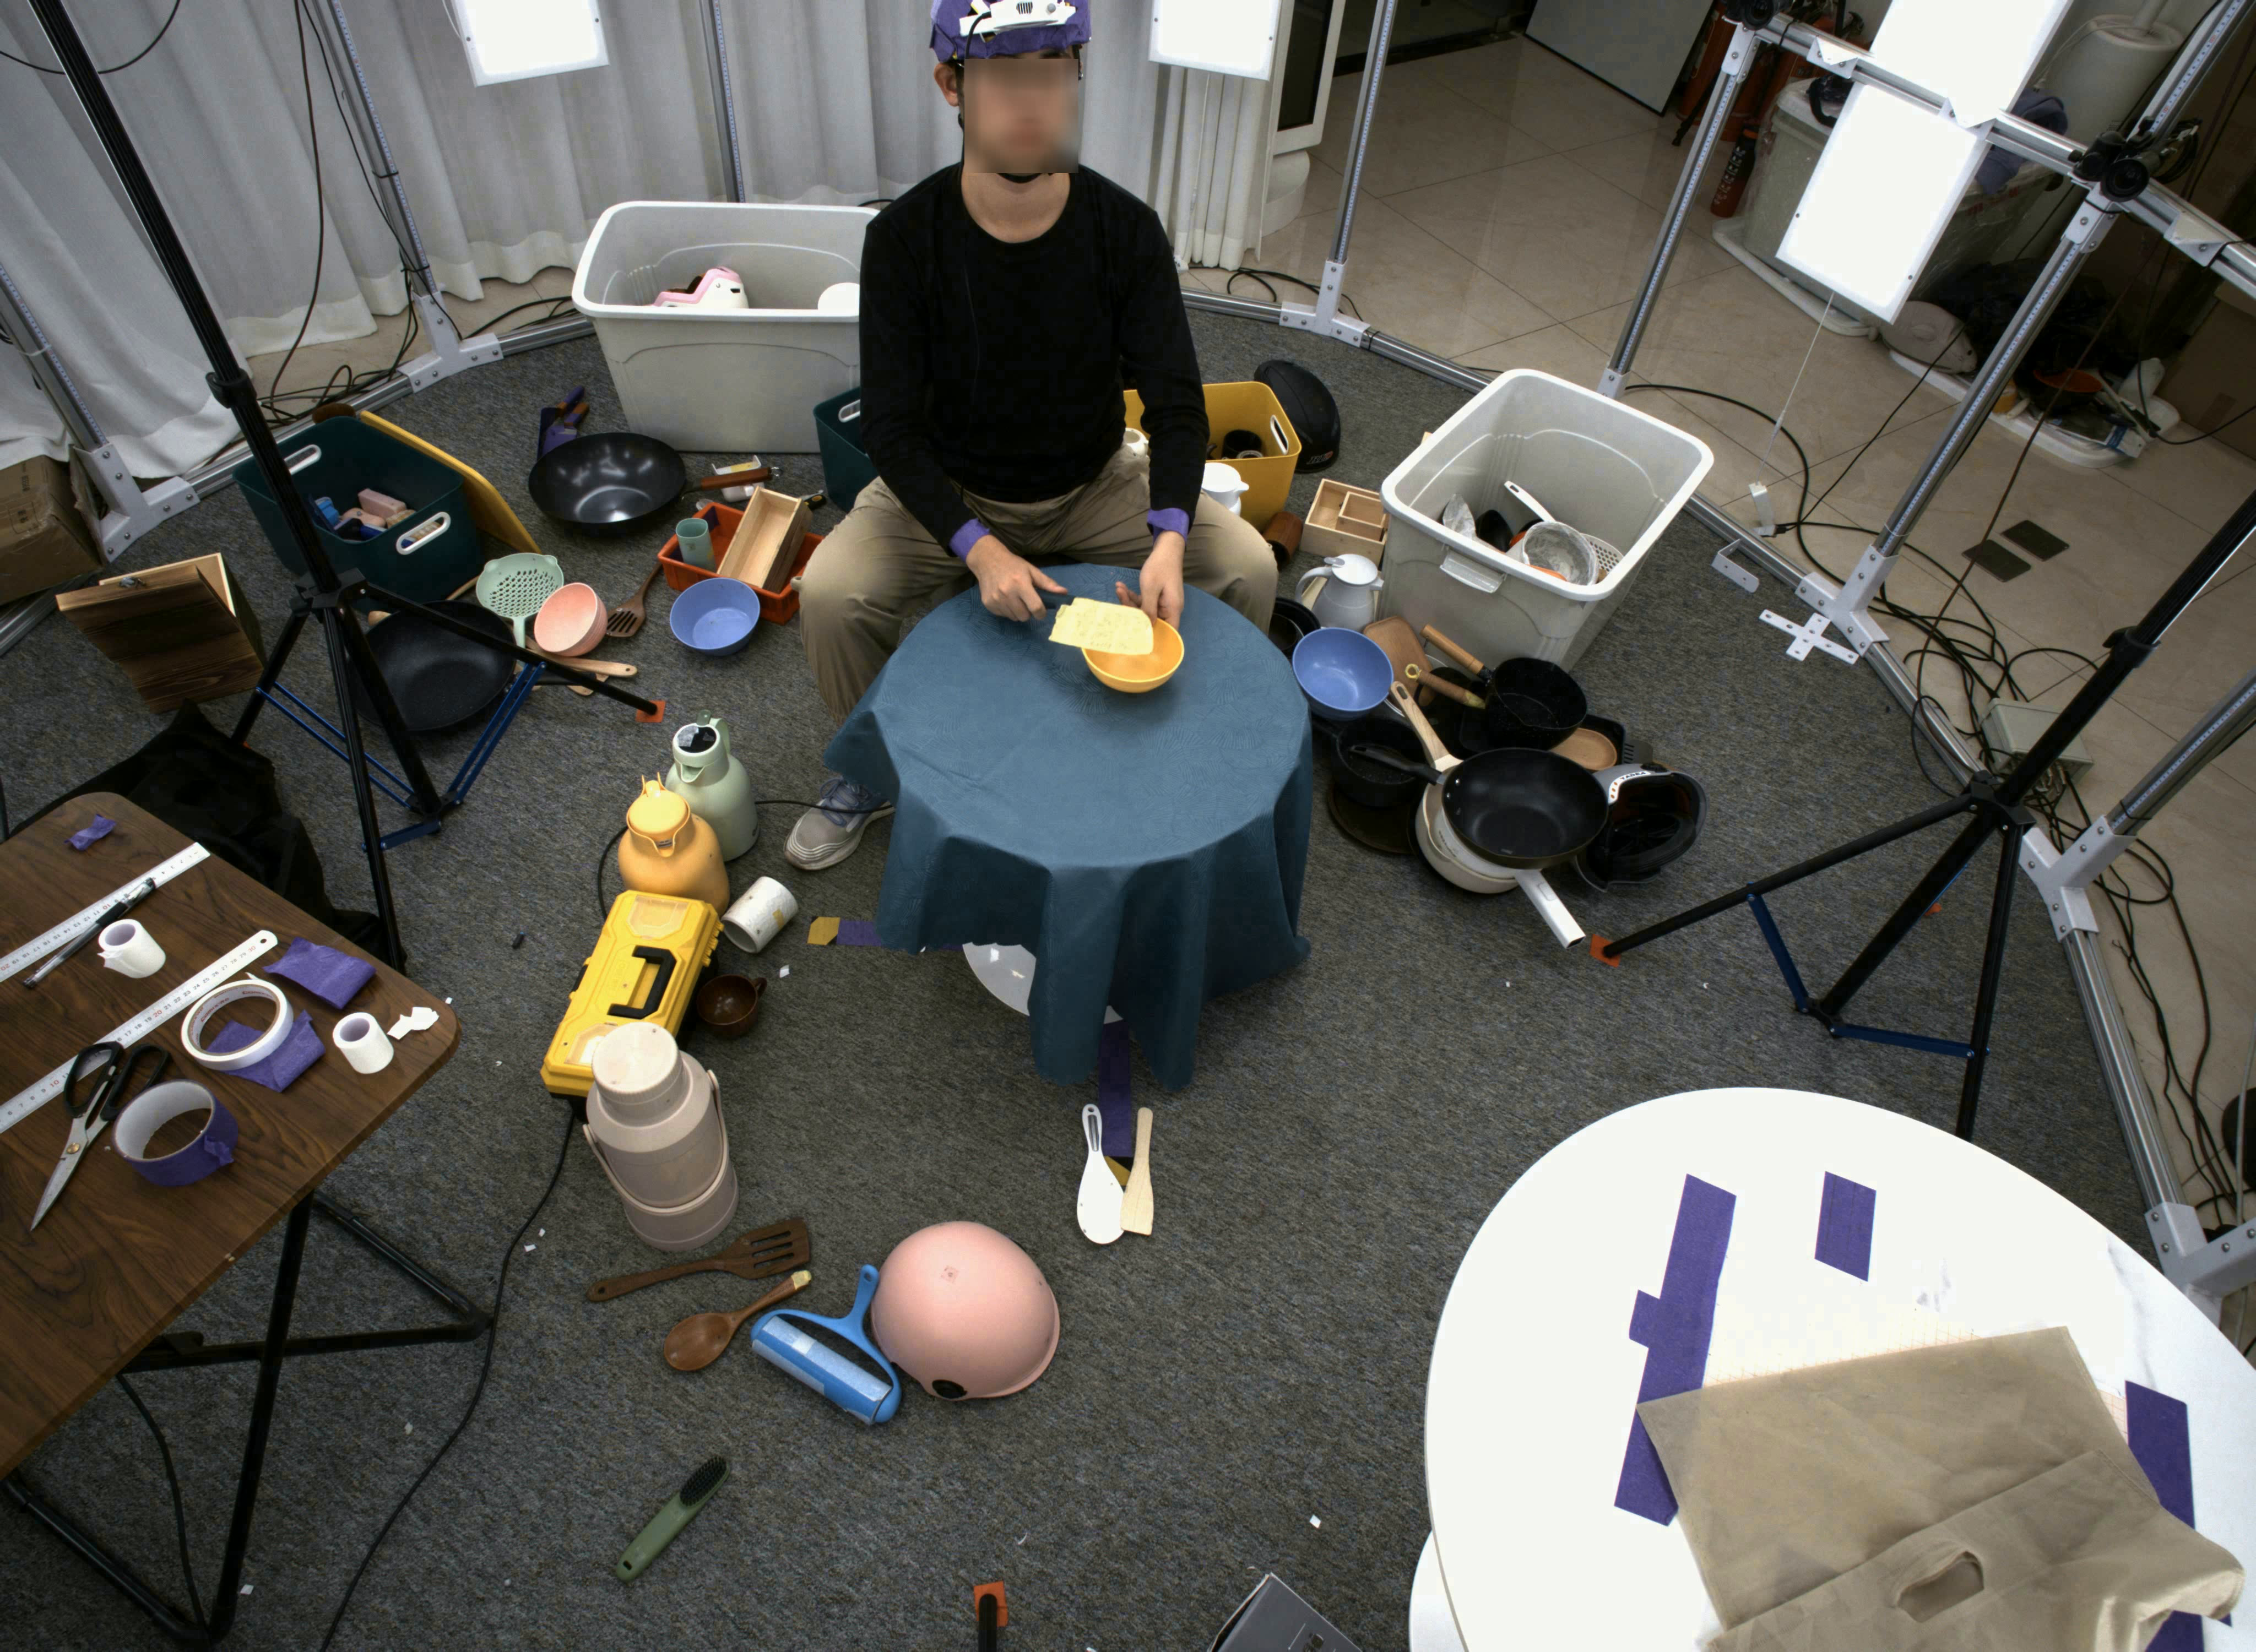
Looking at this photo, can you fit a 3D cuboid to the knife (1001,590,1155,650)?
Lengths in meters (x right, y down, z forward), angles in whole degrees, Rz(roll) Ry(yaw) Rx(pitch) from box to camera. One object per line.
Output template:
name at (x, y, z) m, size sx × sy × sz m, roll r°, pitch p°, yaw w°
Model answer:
knife at (-0.077, -0.295, 1.833) m, size 0.293 × 0.027 × 0.082 m, roll 19°, pitch 76°, yaw 36°

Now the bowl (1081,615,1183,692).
bowl at (0.003, -0.237, 1.833) m, size 0.145 × 0.059 × 0.149 m, roll 3°, pitch 49°, yaw -4°
